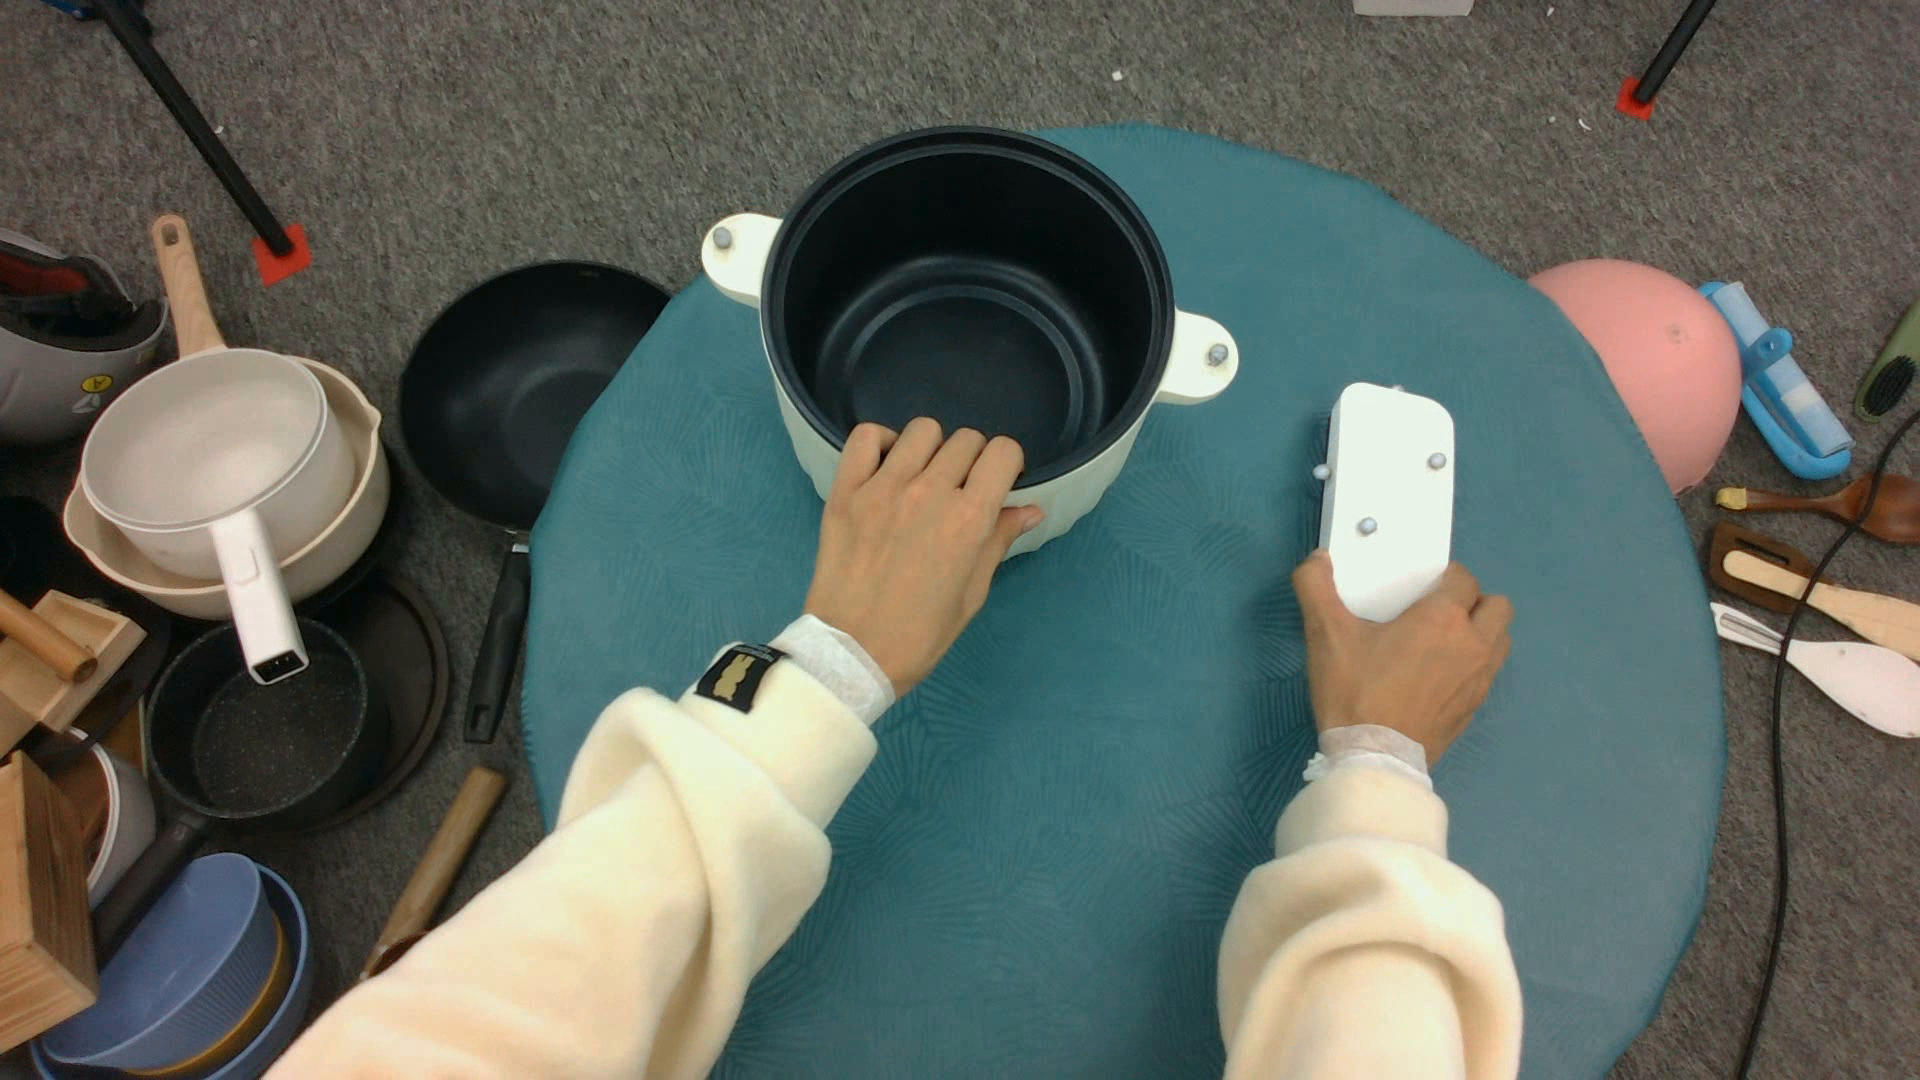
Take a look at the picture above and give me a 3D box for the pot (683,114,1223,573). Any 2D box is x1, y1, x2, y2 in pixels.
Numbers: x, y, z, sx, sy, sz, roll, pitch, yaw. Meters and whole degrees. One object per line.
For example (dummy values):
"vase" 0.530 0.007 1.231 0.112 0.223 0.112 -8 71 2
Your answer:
"pot" -0.006 -0.093 0.661 0.240 0.142 0.191 13 73 0

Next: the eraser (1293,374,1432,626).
"eraser" 0.205 -0.022 0.703 0.063 0.034 0.132 14 67 -5
